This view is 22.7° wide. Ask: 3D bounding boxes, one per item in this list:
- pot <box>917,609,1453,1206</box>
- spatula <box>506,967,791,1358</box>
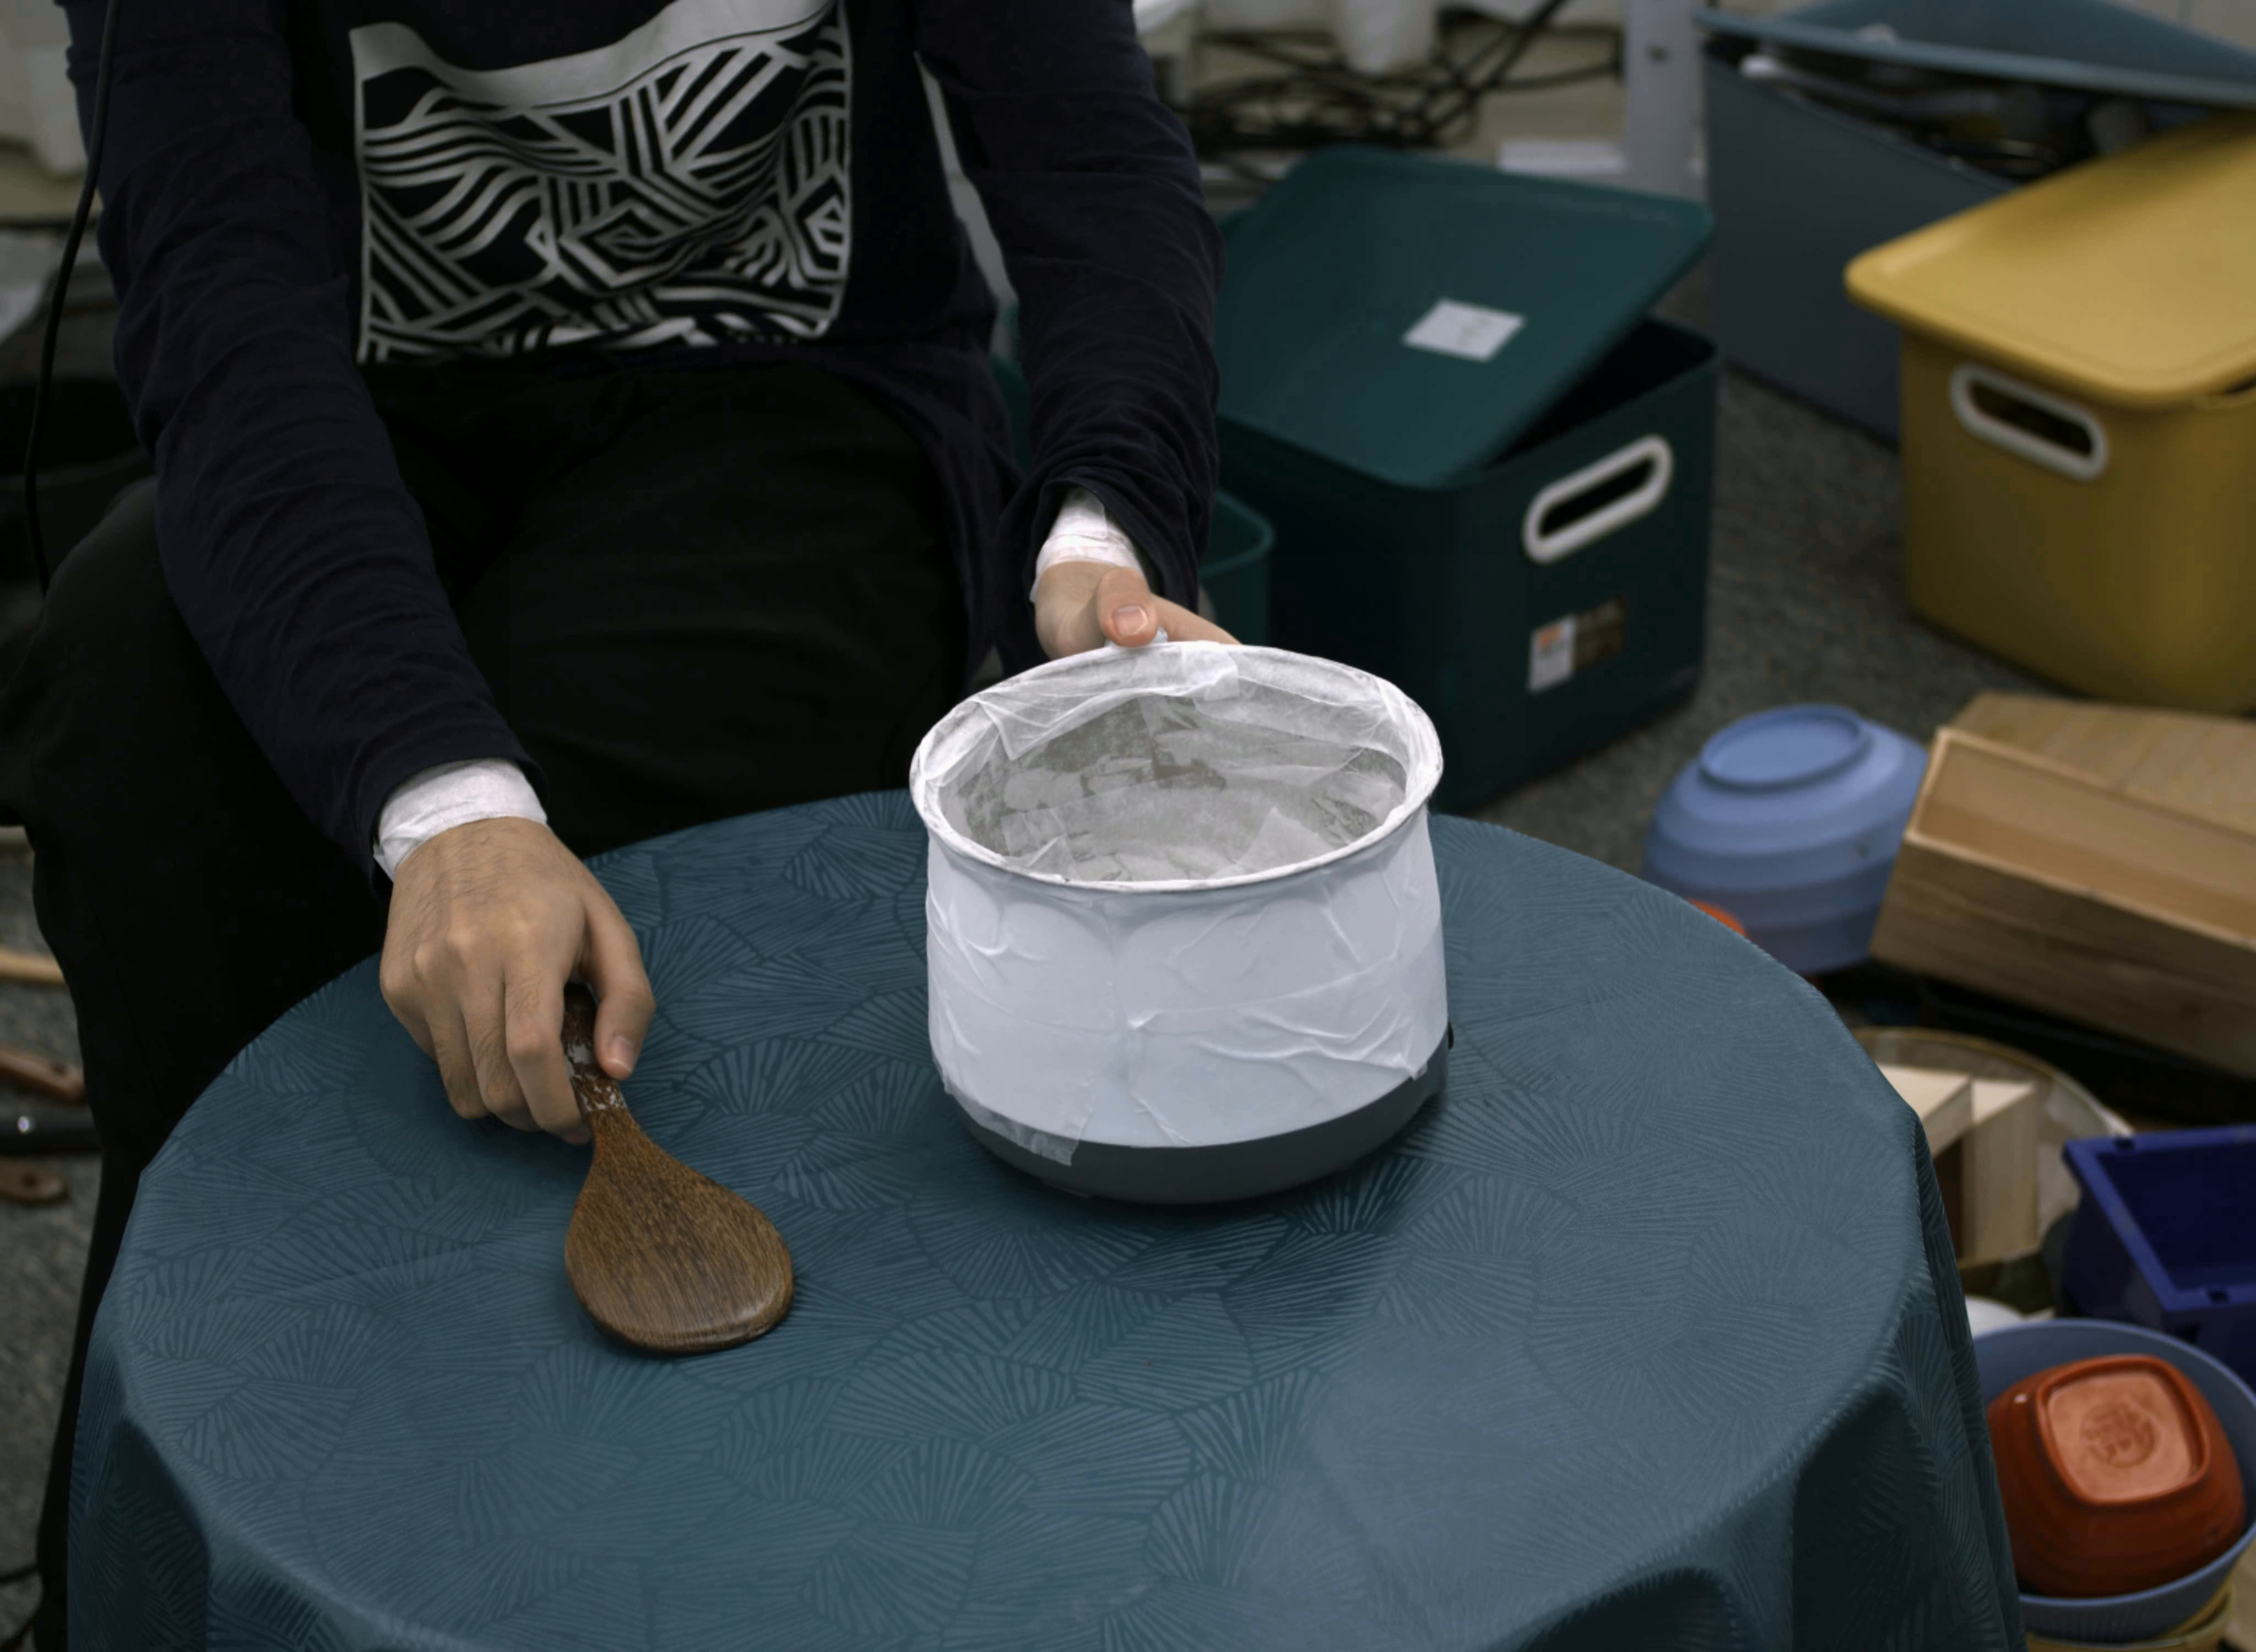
[{"bbox_3d":[0.015,0.020,1.905,0.178,0.135,0.237,-4,28,-8],"label":"pot"},{"bbox_3d":[-0.169,0.108,1.865,0.072,0.009,0.218,-6,34,-20],"label":"spatula"}]
